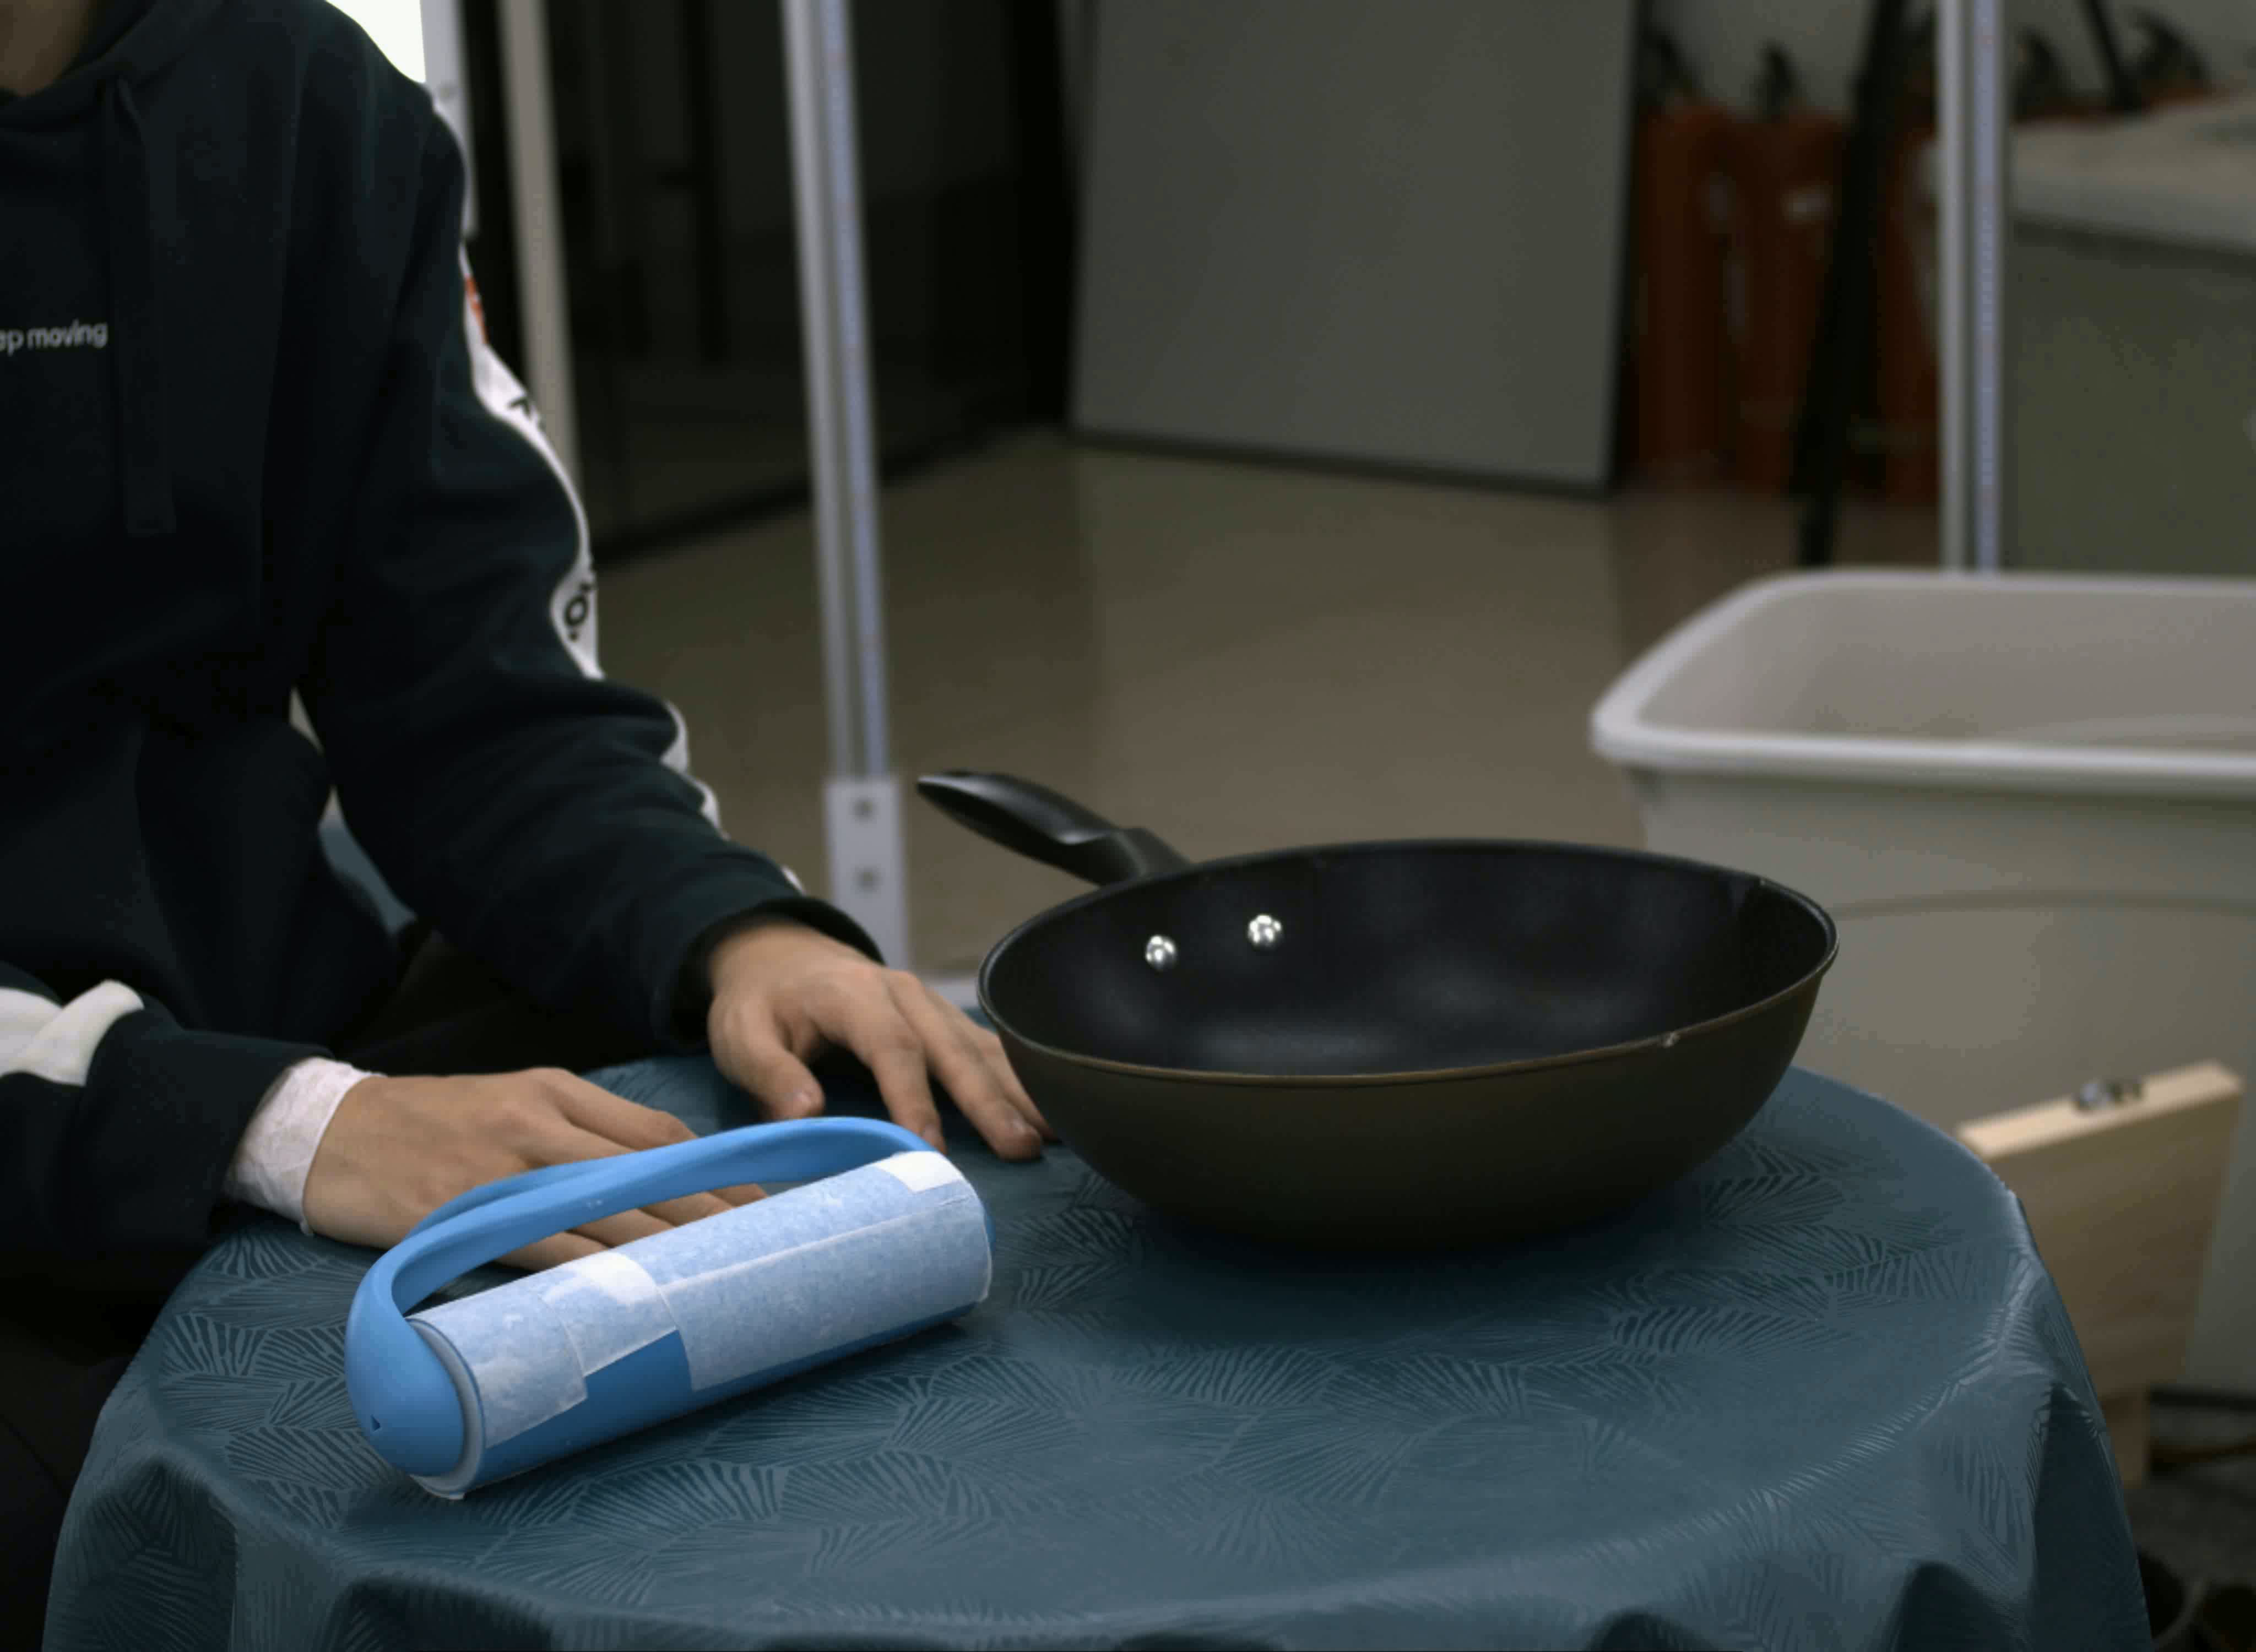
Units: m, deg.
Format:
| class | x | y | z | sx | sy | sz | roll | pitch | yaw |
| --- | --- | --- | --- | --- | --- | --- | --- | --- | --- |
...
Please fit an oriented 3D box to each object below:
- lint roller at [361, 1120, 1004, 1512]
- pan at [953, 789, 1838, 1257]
| class | x | y | z | sx | sy | sz | roll | pitch | yaw |
| --- | --- | --- | --- | --- | --- | --- | --- | --- | --- |
| lint roller | -0.168 | 0.138 | 1.638 | 0.182 | 0.068 | 0.224 | 11 | 23 | 44 |
| pan | 0.047 | 0.062 | 1.826 | 0.282 | 0.088 | 0.468 | -11 | 14 | -27 |
